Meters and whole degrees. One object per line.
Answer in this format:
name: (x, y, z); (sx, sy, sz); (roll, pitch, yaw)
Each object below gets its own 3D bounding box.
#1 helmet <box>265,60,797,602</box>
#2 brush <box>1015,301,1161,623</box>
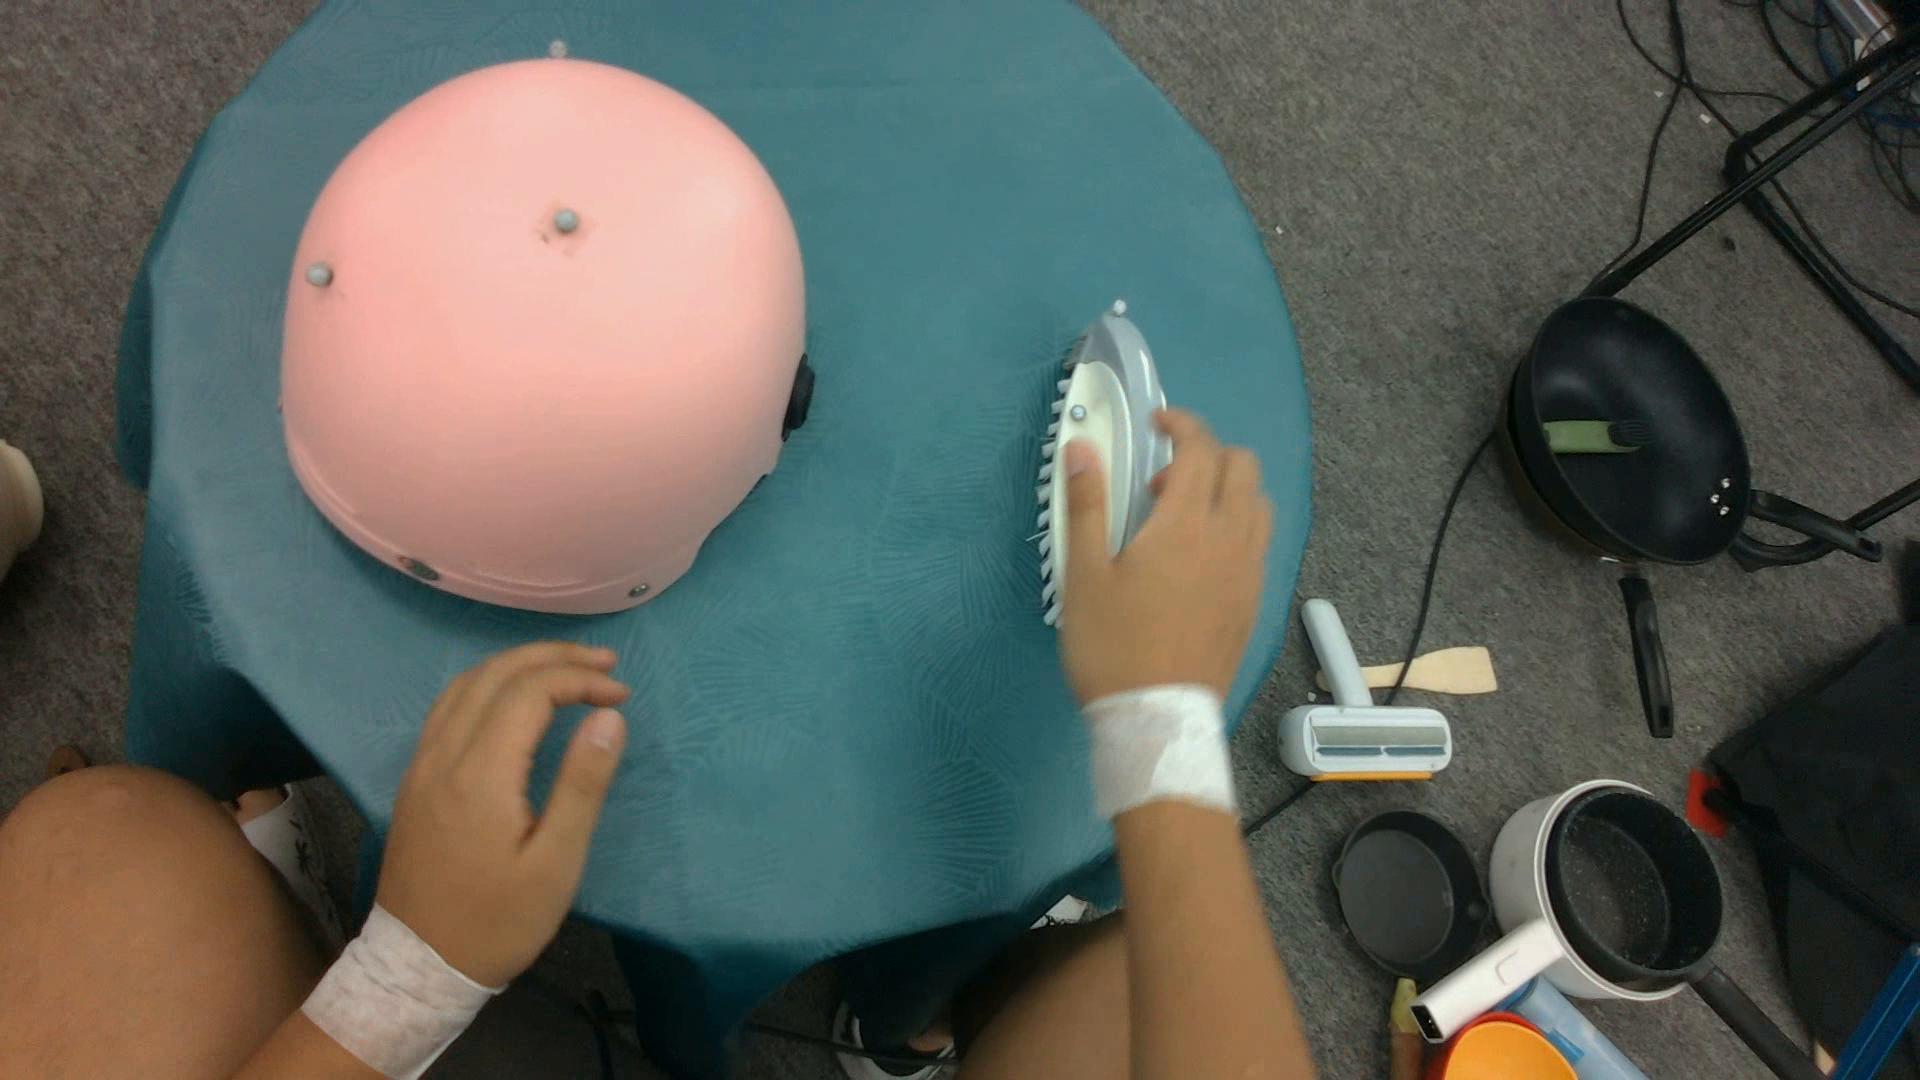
helmet: (-0.180, -0.116, 0.610); (0.234, 0.158, 0.267); (26, 60, -7)
brush: (0.069, -0.053, 0.704); (0.061, 0.094, 0.176); (8, 66, -18)
